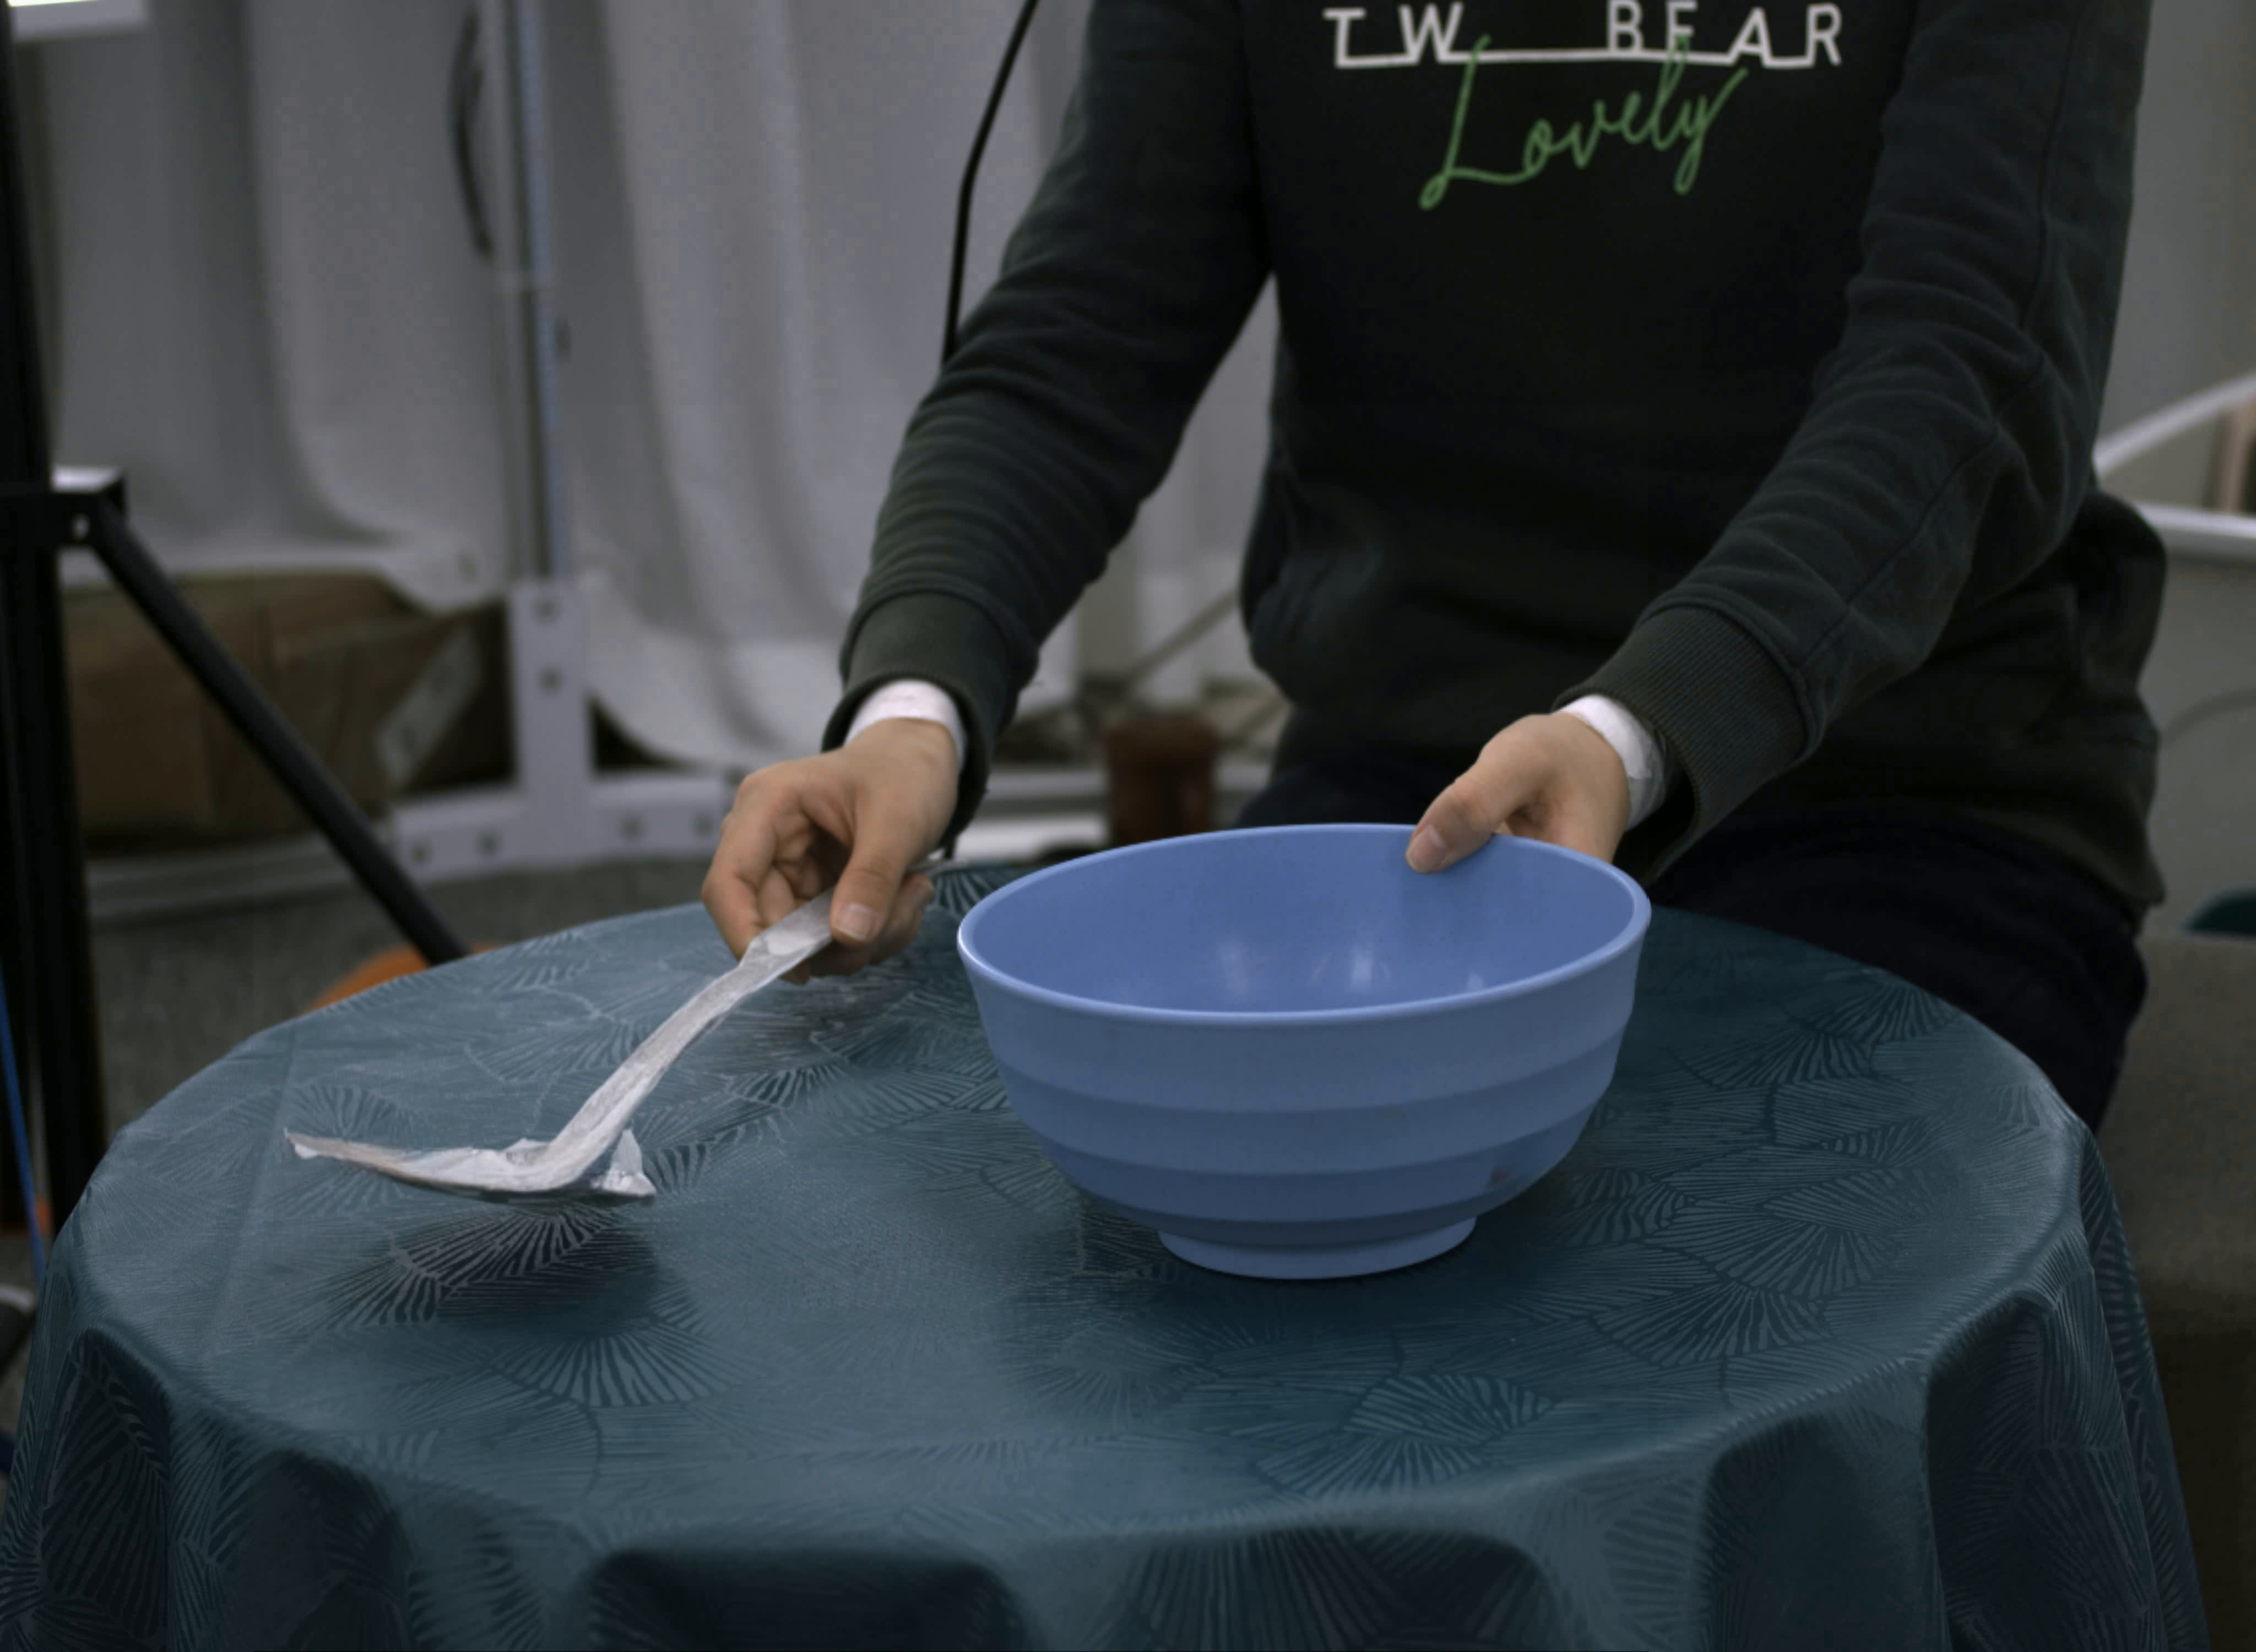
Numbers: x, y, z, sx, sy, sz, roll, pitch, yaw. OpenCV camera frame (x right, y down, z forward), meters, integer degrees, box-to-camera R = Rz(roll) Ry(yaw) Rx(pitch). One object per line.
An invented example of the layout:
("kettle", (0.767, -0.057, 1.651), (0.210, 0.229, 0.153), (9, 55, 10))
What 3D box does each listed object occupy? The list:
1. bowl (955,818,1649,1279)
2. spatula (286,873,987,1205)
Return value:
("bowl", (0.052, 0.069, 1.507), (0.195, 0.095, 0.197), (-5, 15, 0))
("spatula", (-0.128, 0.055, 1.628), (0.100, 0.045, 0.360), (6, 21, 23))
